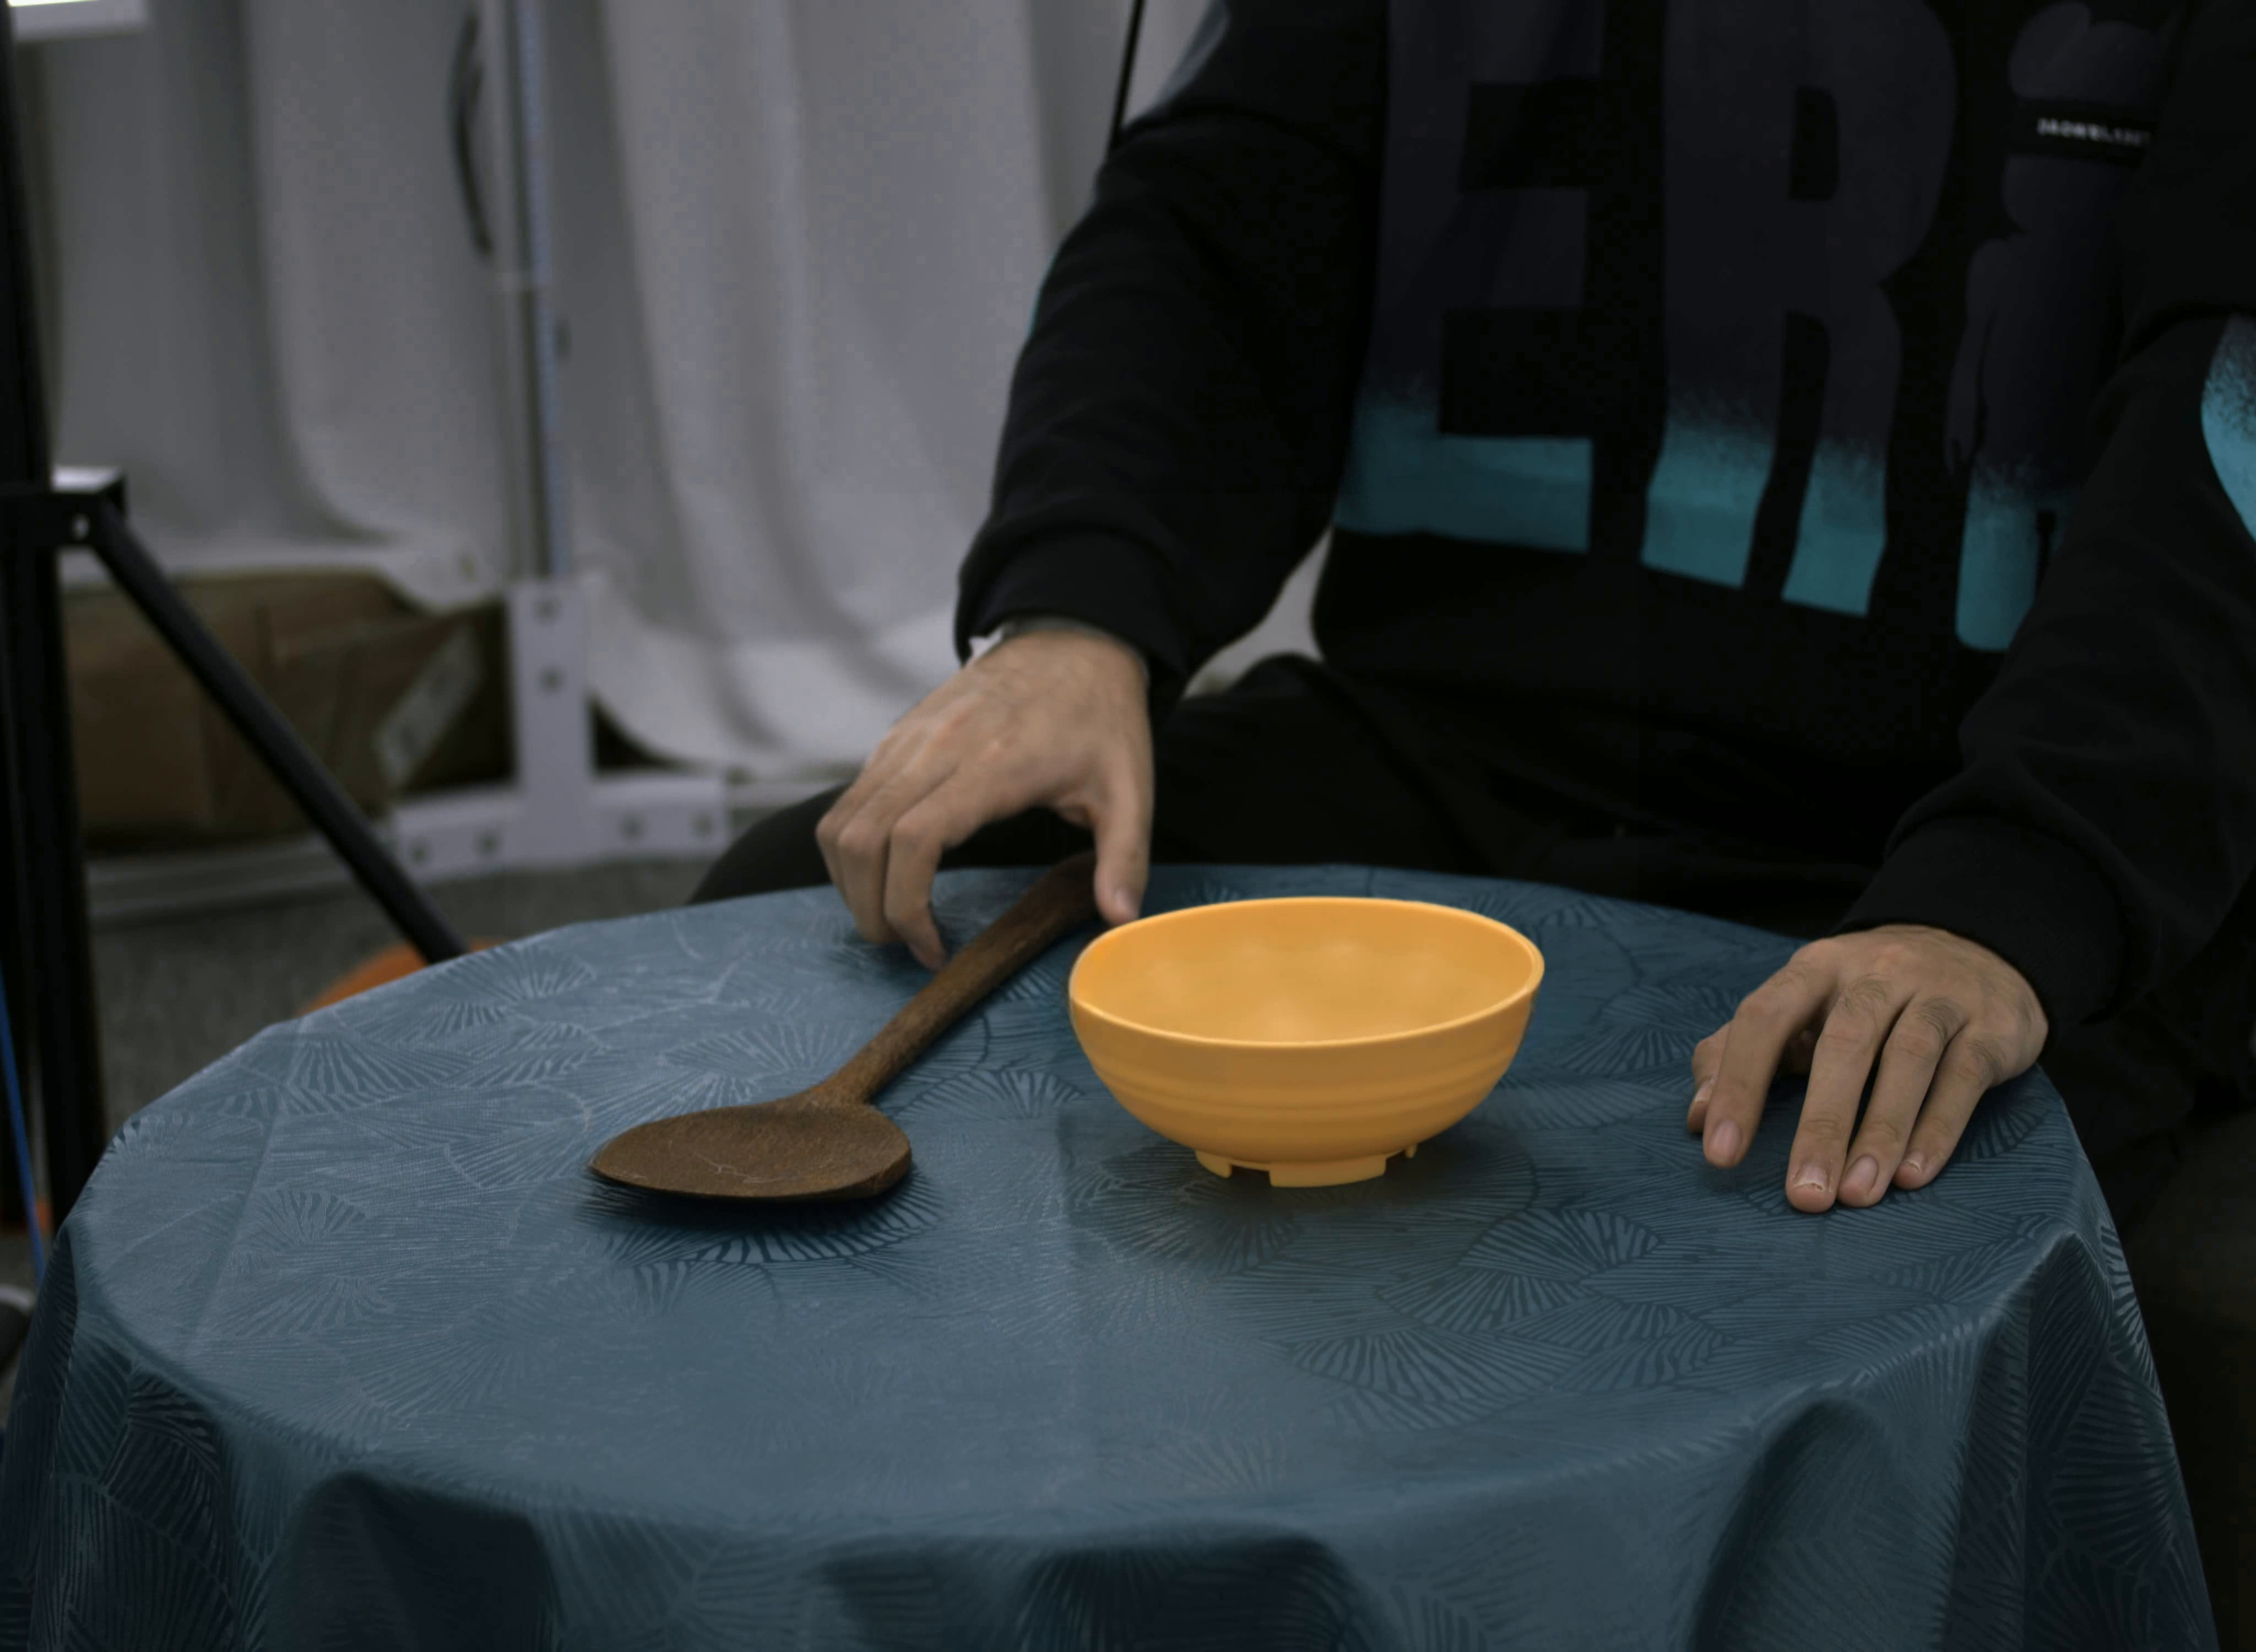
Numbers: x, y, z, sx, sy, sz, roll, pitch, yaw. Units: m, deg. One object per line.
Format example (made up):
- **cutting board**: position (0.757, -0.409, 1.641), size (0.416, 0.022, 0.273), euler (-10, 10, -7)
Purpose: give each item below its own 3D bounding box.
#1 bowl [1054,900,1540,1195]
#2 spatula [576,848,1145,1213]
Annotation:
- **bowl**: position (0.050, 0.071, 1.579), size (0.144, 0.060, 0.146), euler (0, 16, -1)
- **spatula**: position (-0.064, 0.060, 1.714), size (0.097, 0.016, 0.381), euler (3, 17, 19)
